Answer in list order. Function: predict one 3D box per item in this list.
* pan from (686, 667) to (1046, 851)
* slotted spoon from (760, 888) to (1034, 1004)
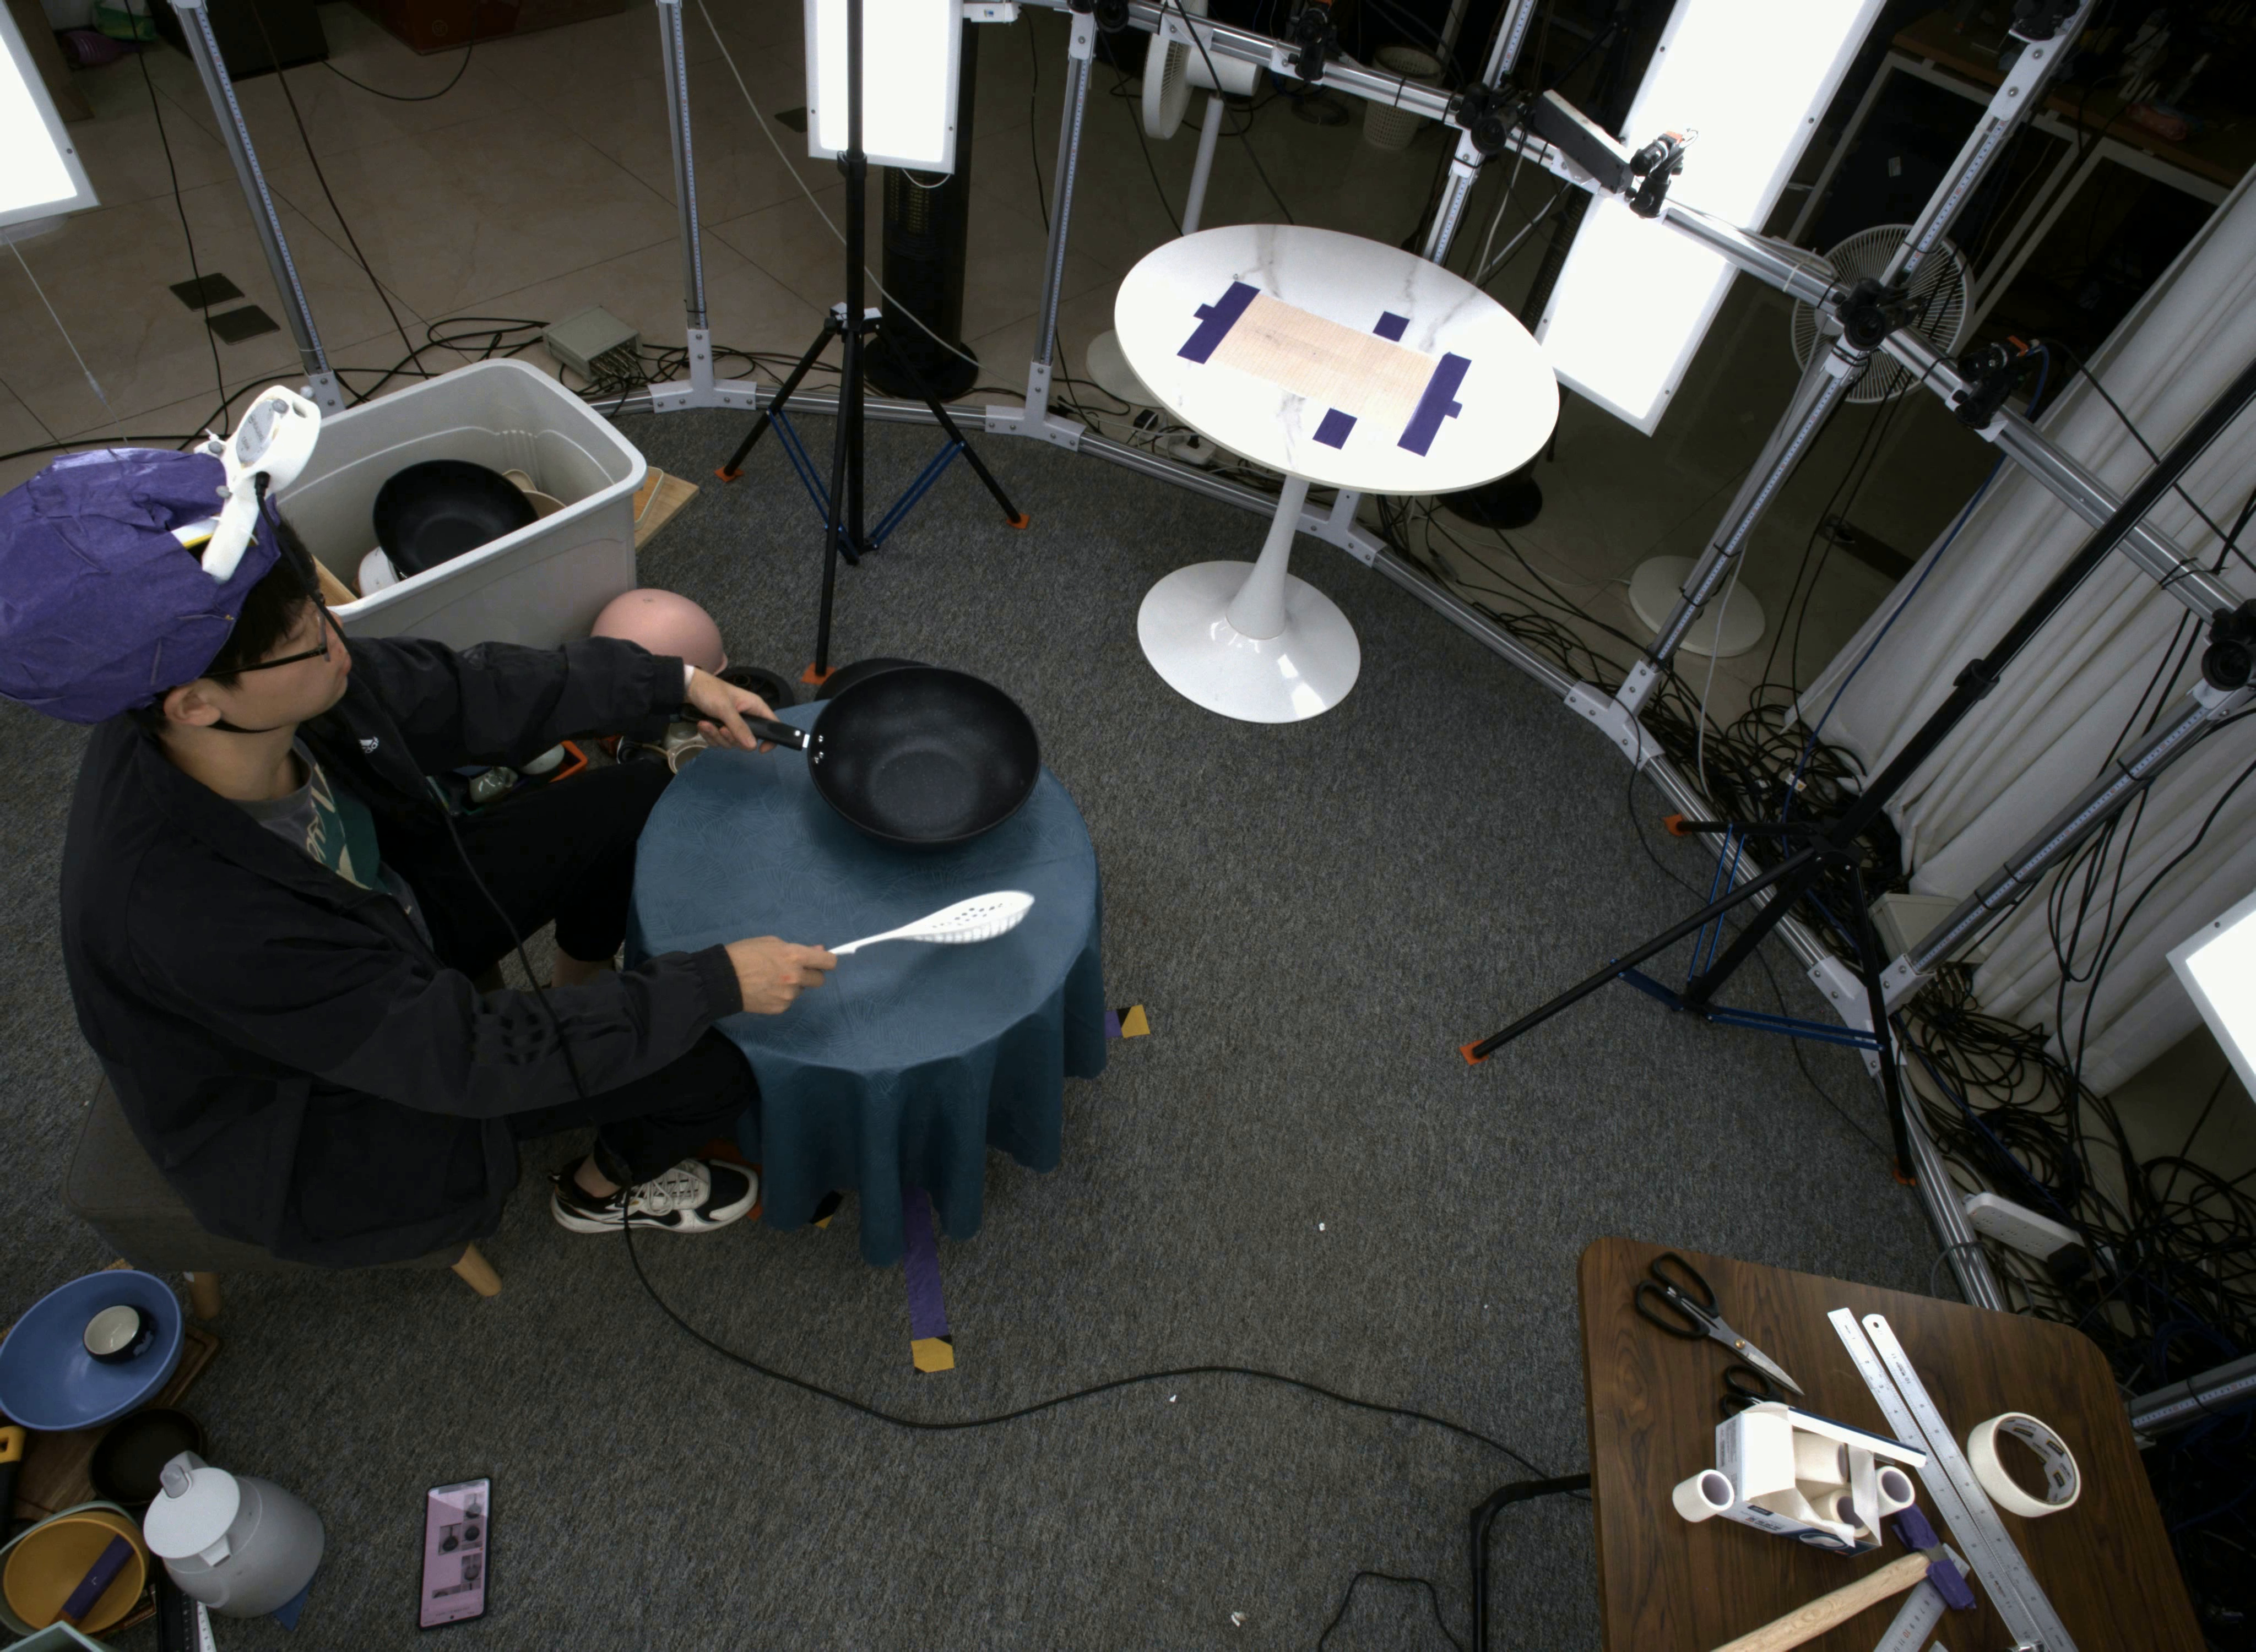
[{"bbox_3d":[-0.349,-0.093,1.745,0.475,0.114,0.304,7,51,-8],"label":"pan"},{"bbox_3d":[-0.276,0.141,1.566,0.349,0.133,0.051,-13,102,-22],"label":"slotted spoon"}]
